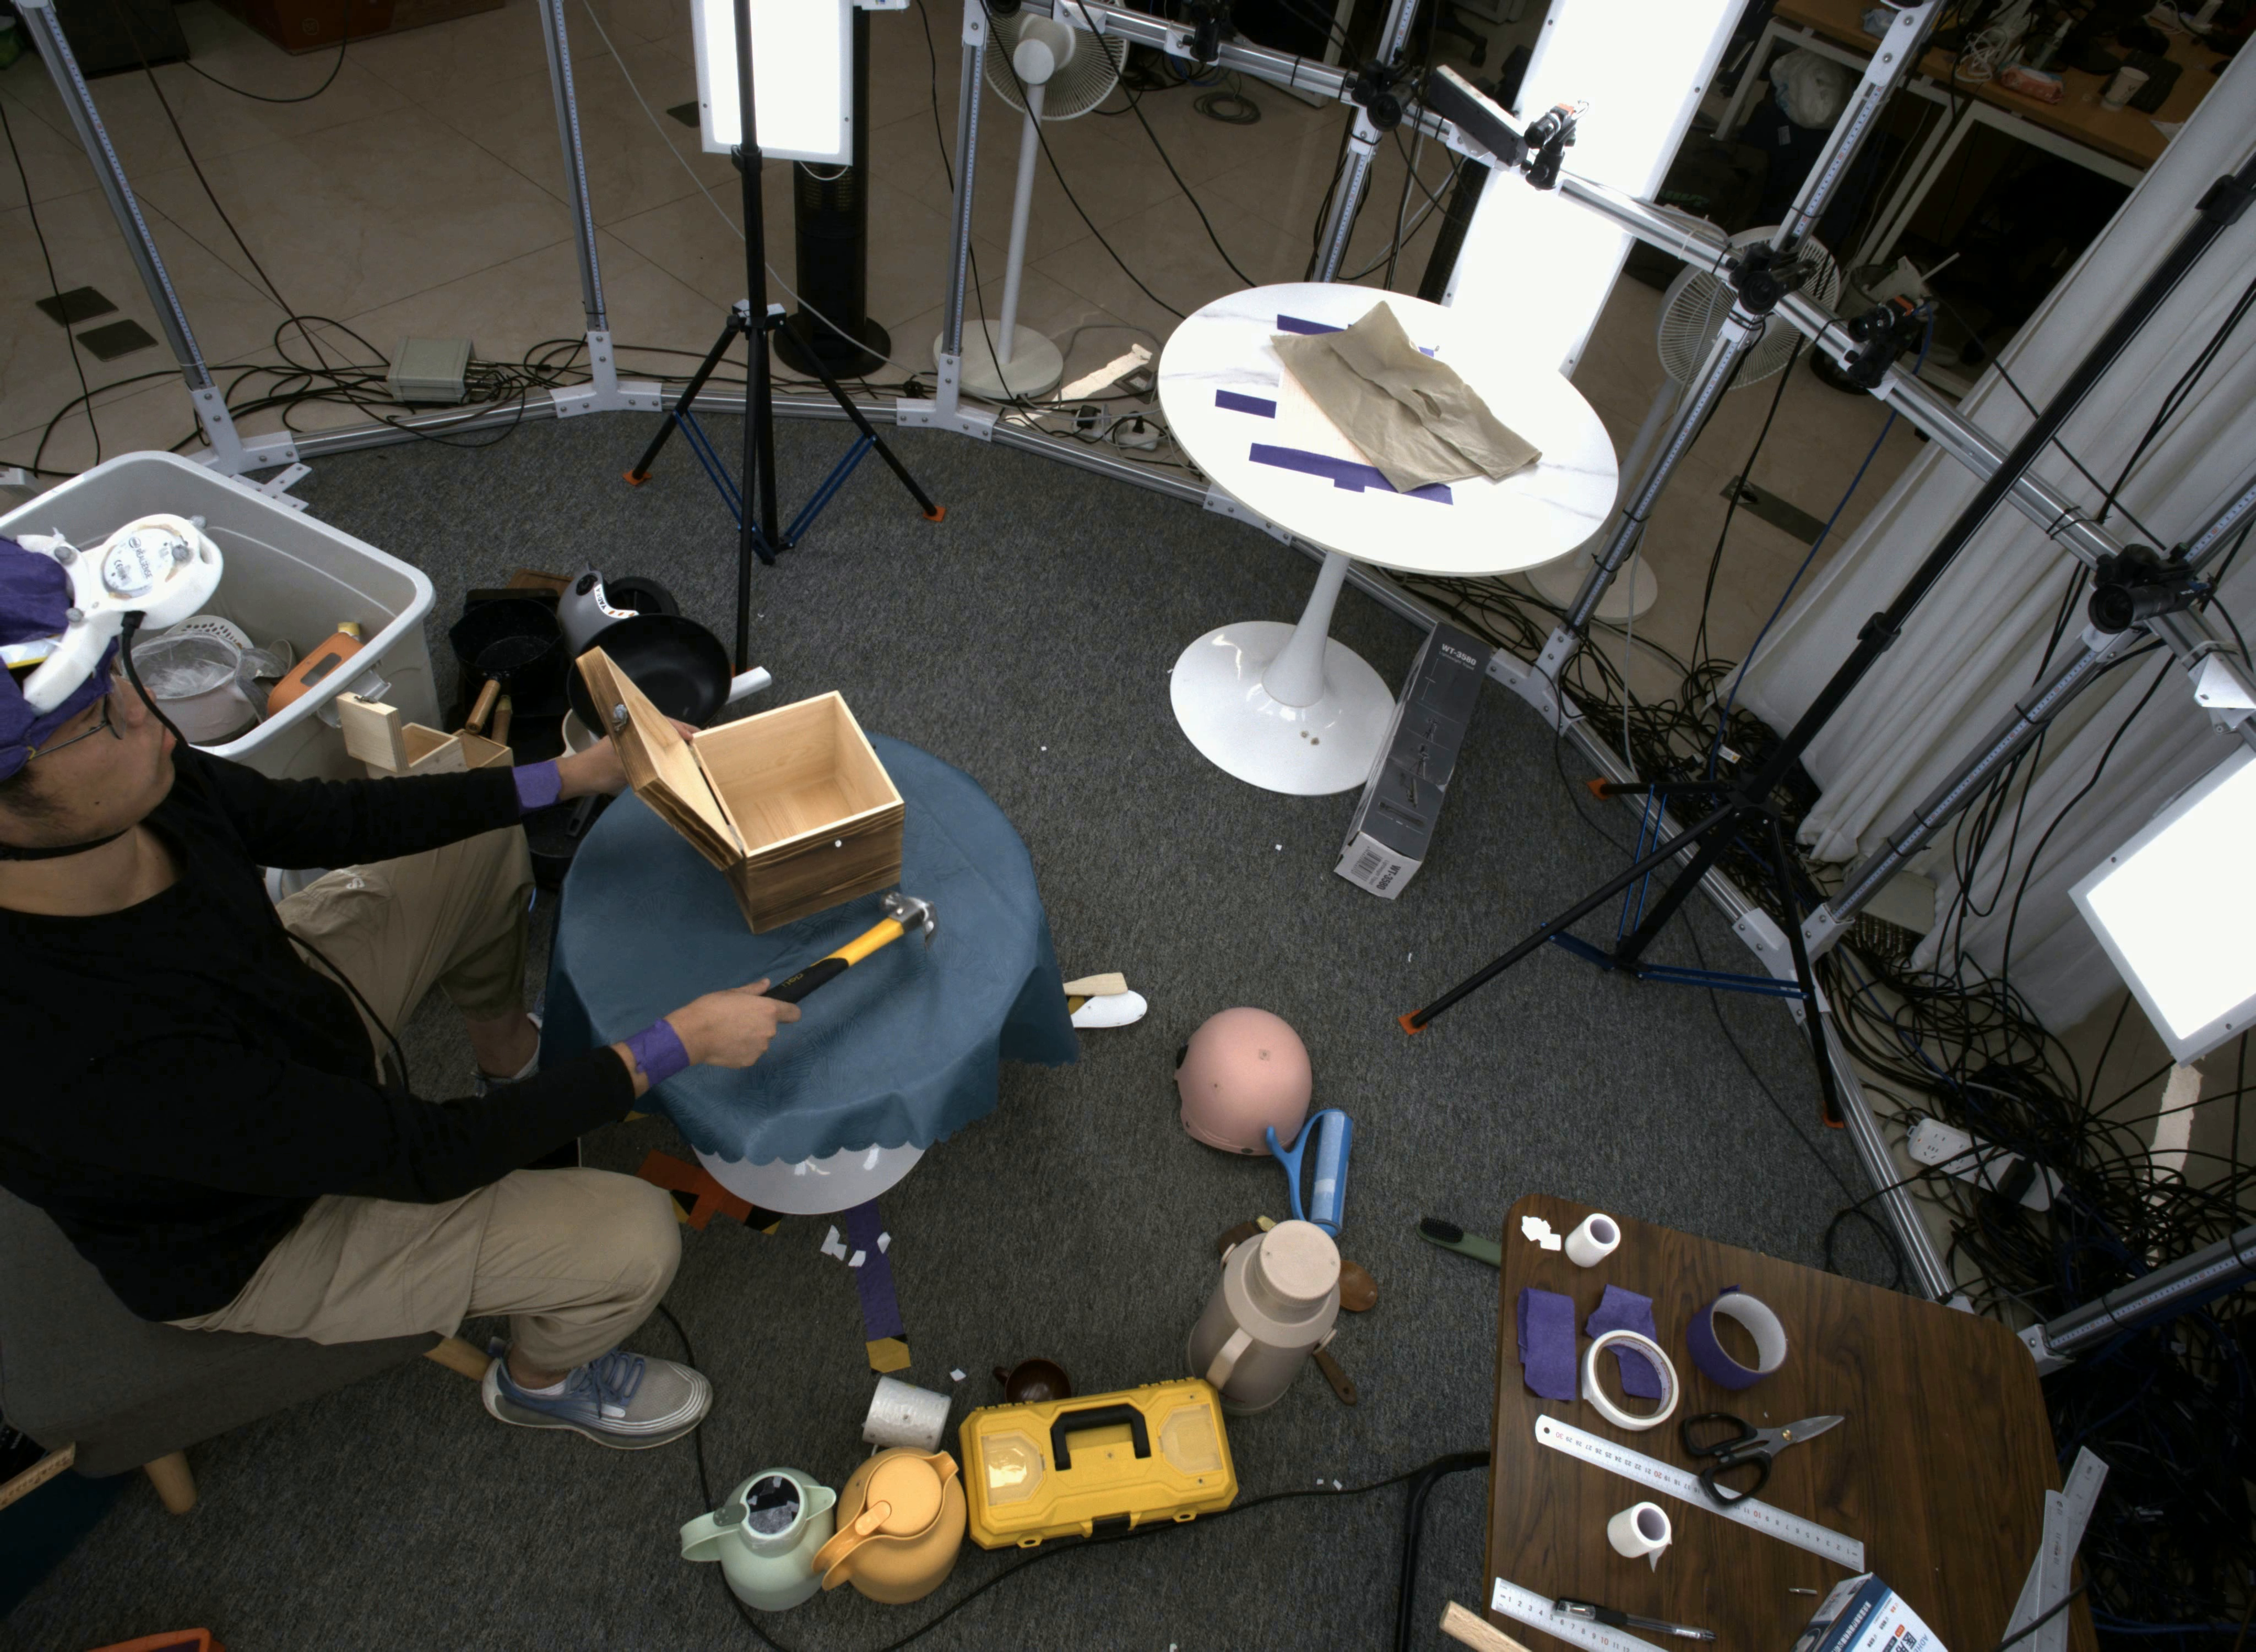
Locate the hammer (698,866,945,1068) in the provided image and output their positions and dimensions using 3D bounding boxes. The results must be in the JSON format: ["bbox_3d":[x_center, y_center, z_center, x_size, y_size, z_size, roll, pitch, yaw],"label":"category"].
[{"bbox_3d":[-0.369,0.174,1.561,0.338,0.033,0.126,-35,42,-14],"label":"hammer"}]

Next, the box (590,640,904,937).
[{"bbox_3d":[-0.447,-0.061,1.530,0.323,0.383,0.203,-22,60,-26],"label":"box"}]
